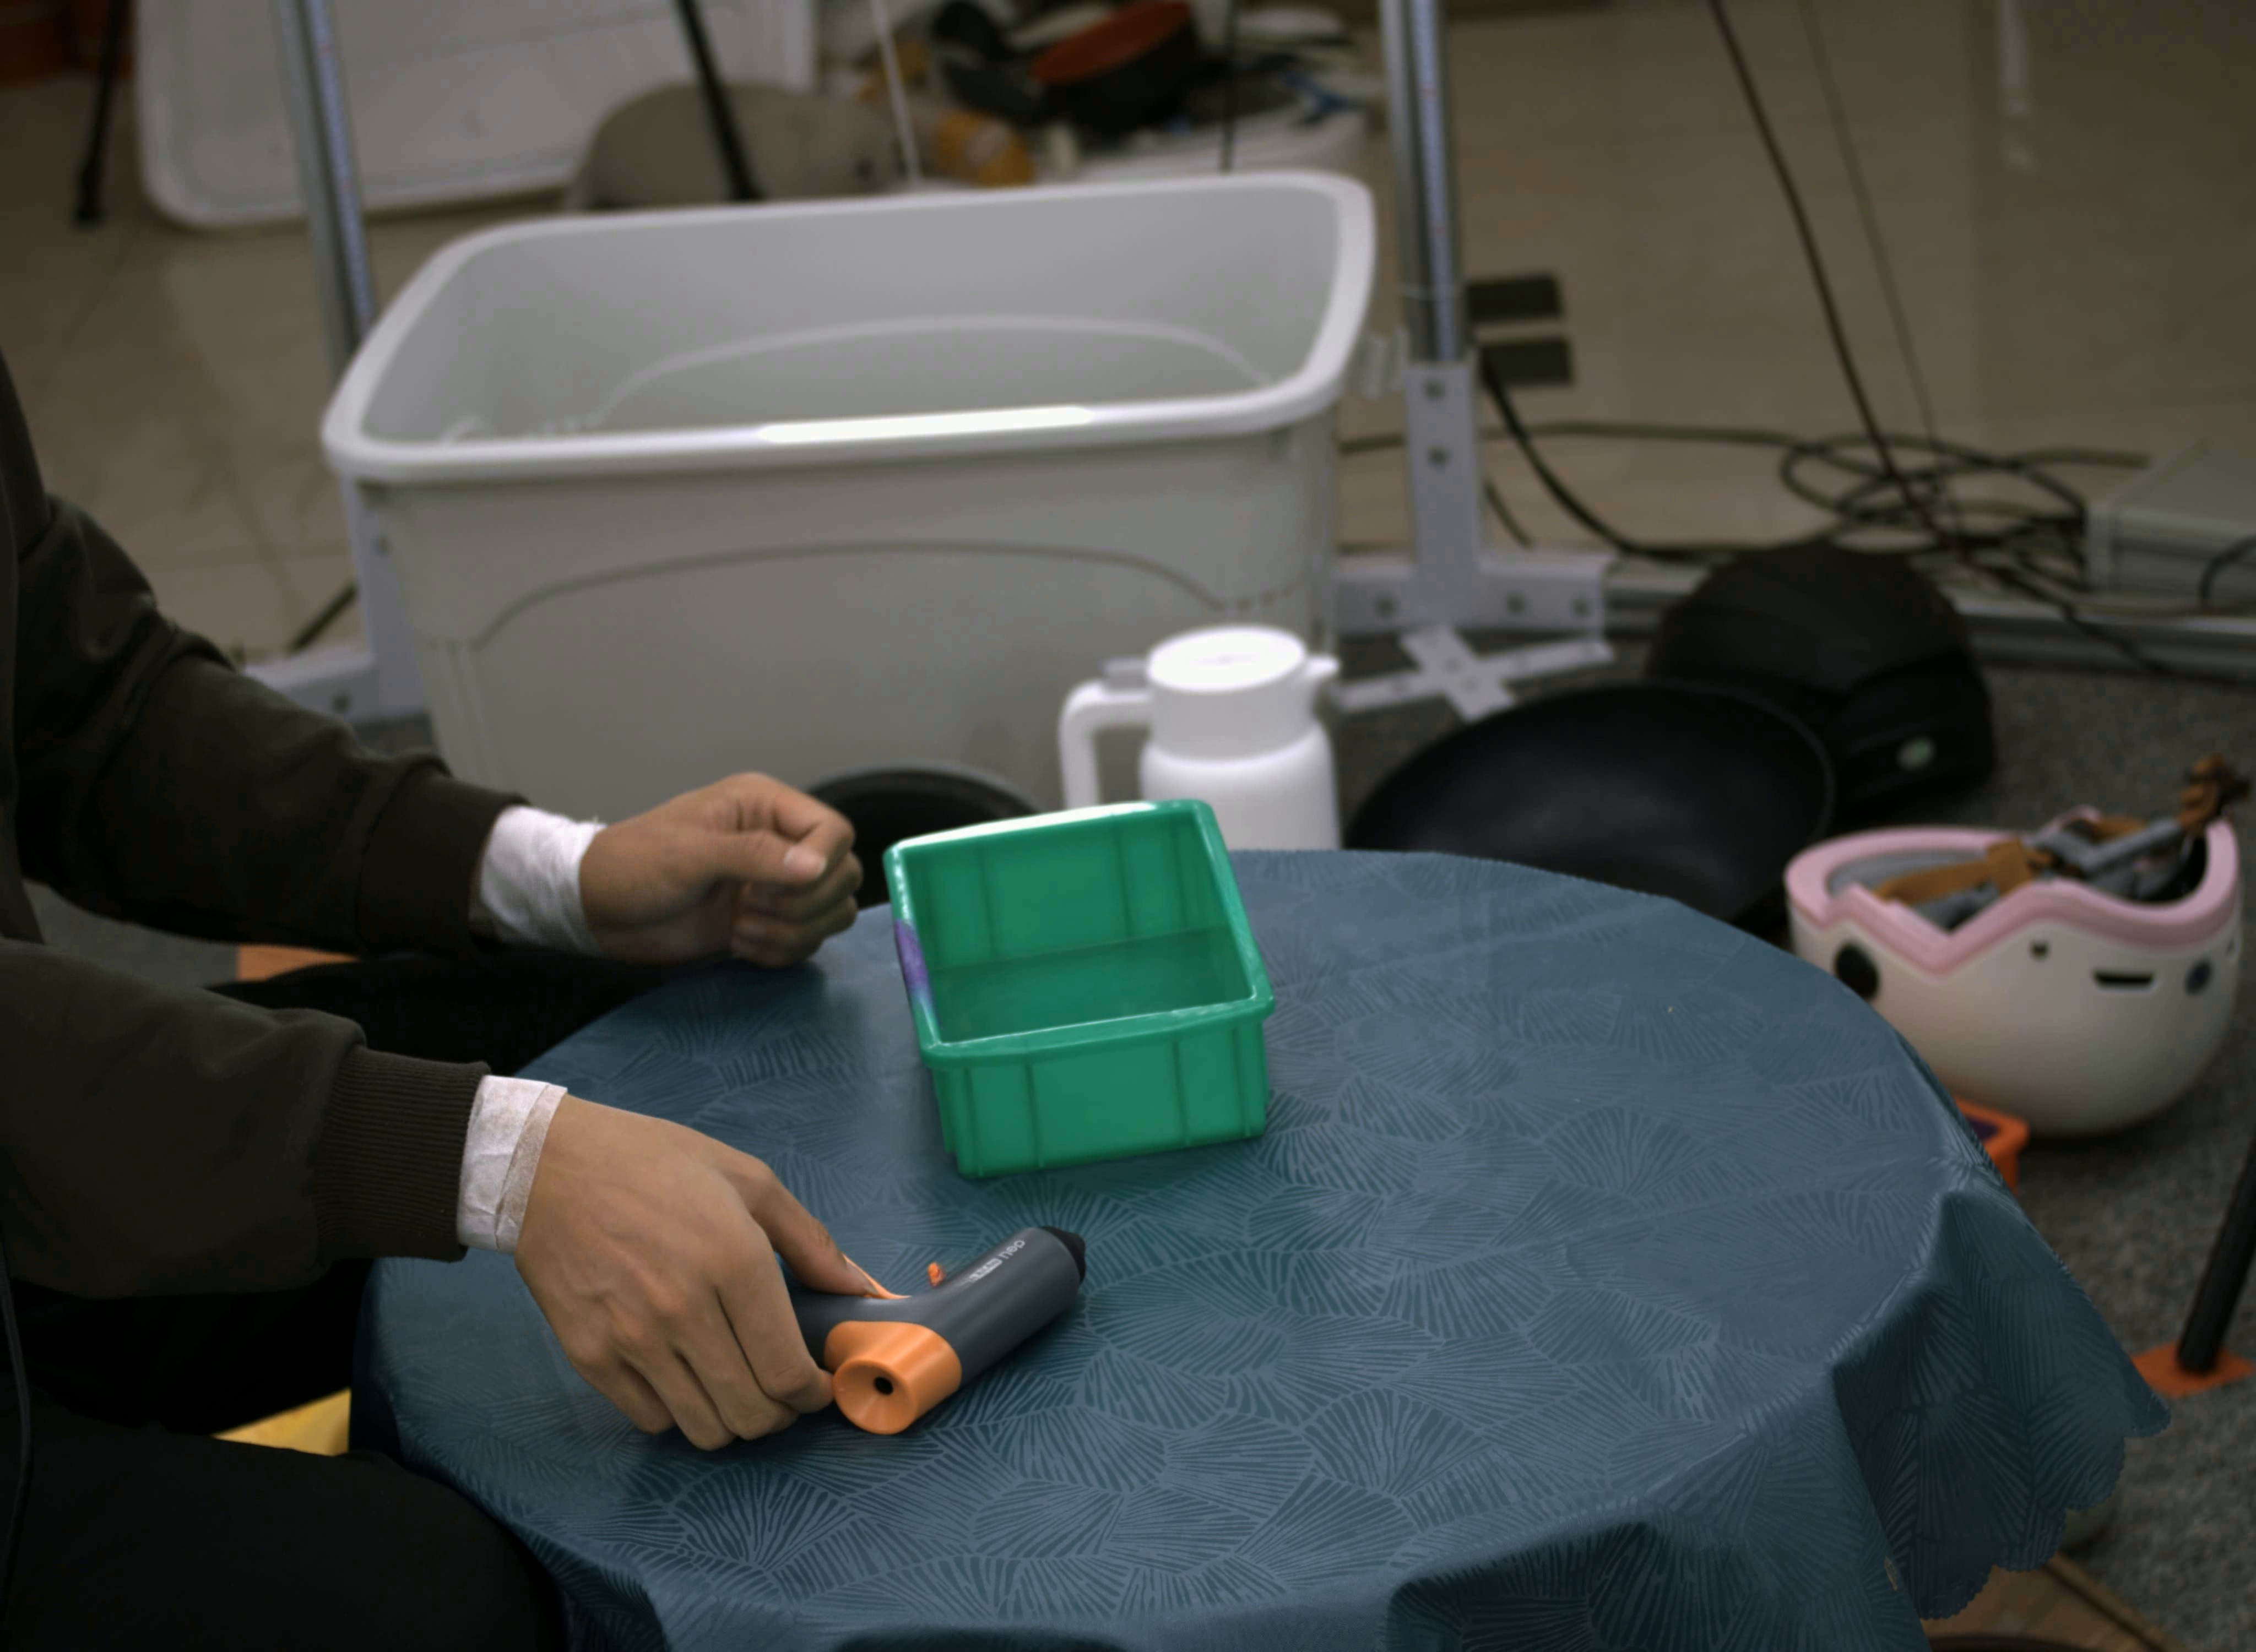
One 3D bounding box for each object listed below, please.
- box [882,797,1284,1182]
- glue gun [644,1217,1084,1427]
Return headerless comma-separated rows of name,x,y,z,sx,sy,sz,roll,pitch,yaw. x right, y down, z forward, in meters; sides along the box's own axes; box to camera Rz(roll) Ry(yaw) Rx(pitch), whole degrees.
box,-0.018,0.065,2.238,0.138,0.066,0.207,-10,27,-5
glue gun,-0.095,0.175,2.057,0.139,0.041,0.116,6,22,19
